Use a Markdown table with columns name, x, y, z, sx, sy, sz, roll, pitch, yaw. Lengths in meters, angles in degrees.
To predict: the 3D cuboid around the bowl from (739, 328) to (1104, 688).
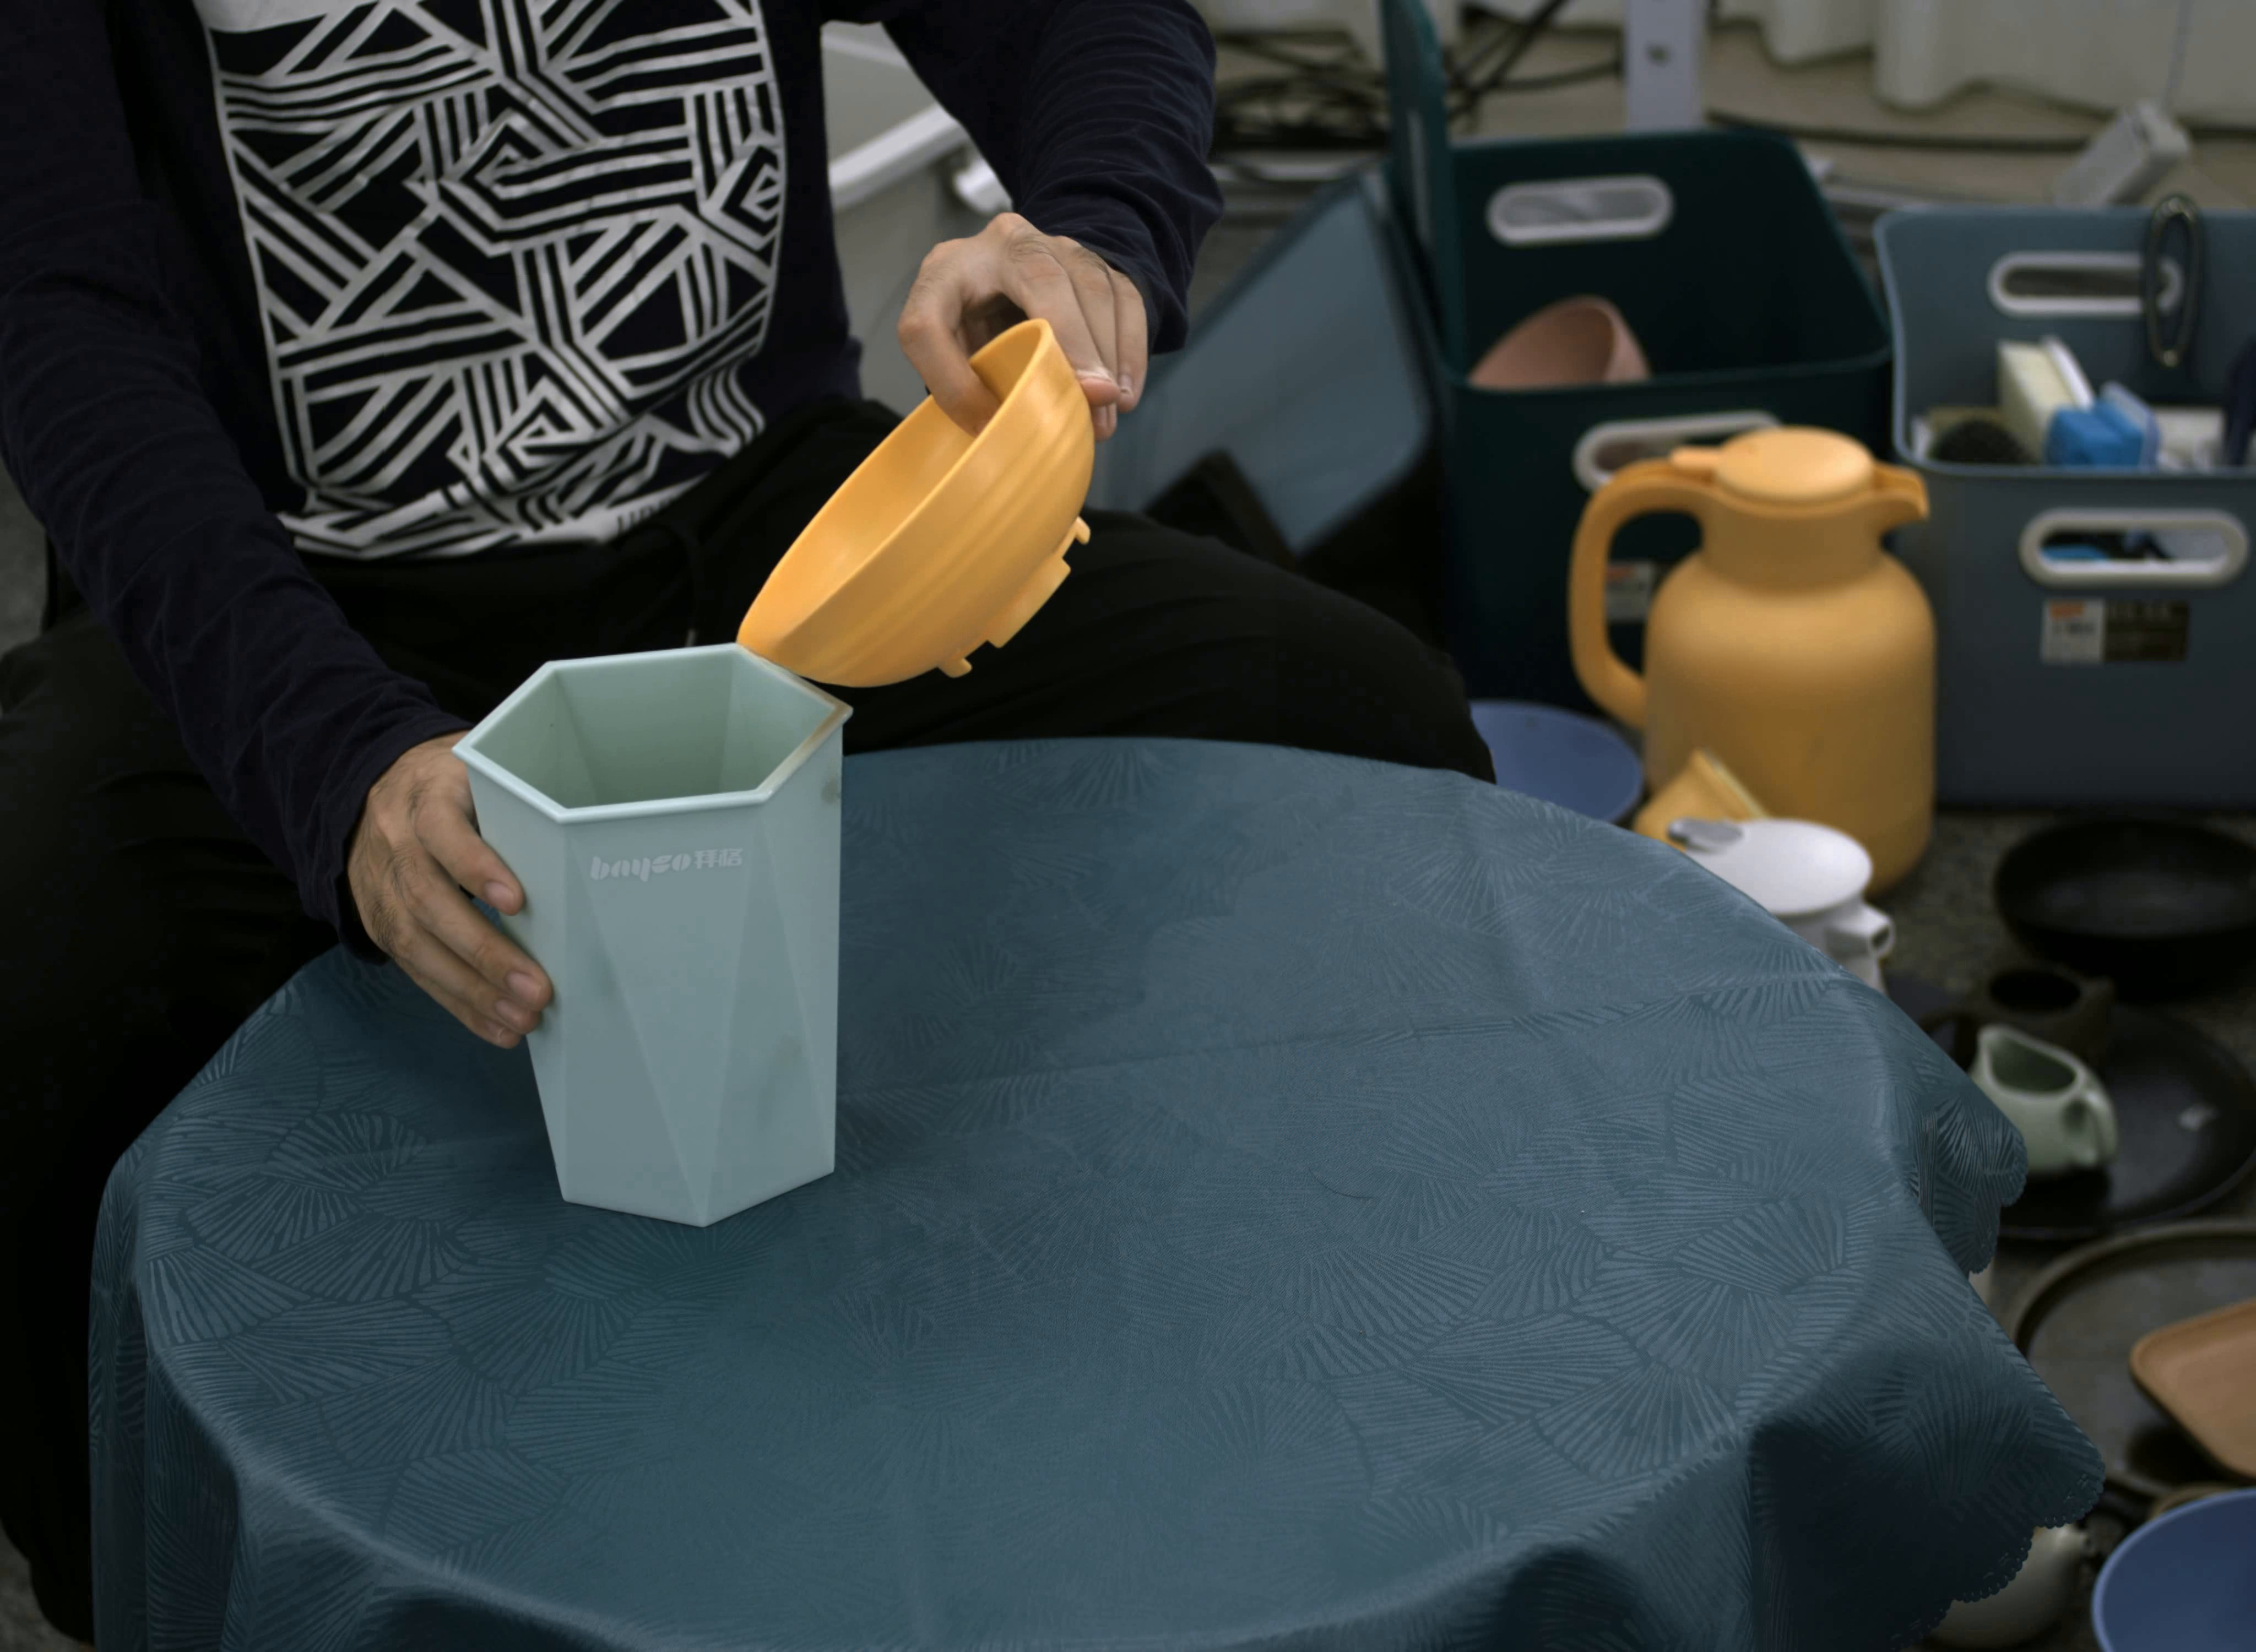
| name | x | y | z | sx | sy | sz | roll | pitch | yaw |
| --- | --- | --- | --- | --- | --- | --- | --- | --- | --- |
| bowl | -0.054 | -0.090 | 1.817 | 0.144 | 0.060 | 0.147 | -42 | 12 | 11 |

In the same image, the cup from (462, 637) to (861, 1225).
| name | x | y | z | sx | sy | sz | roll | pitch | yaw |
| --- | --- | --- | --- | --- | --- | --- | --- | --- | --- |
| cup | -0.148 | 0.037 | 1.860 | 0.131 | 0.161 | 0.116 | -6 | 26 | -7 |
